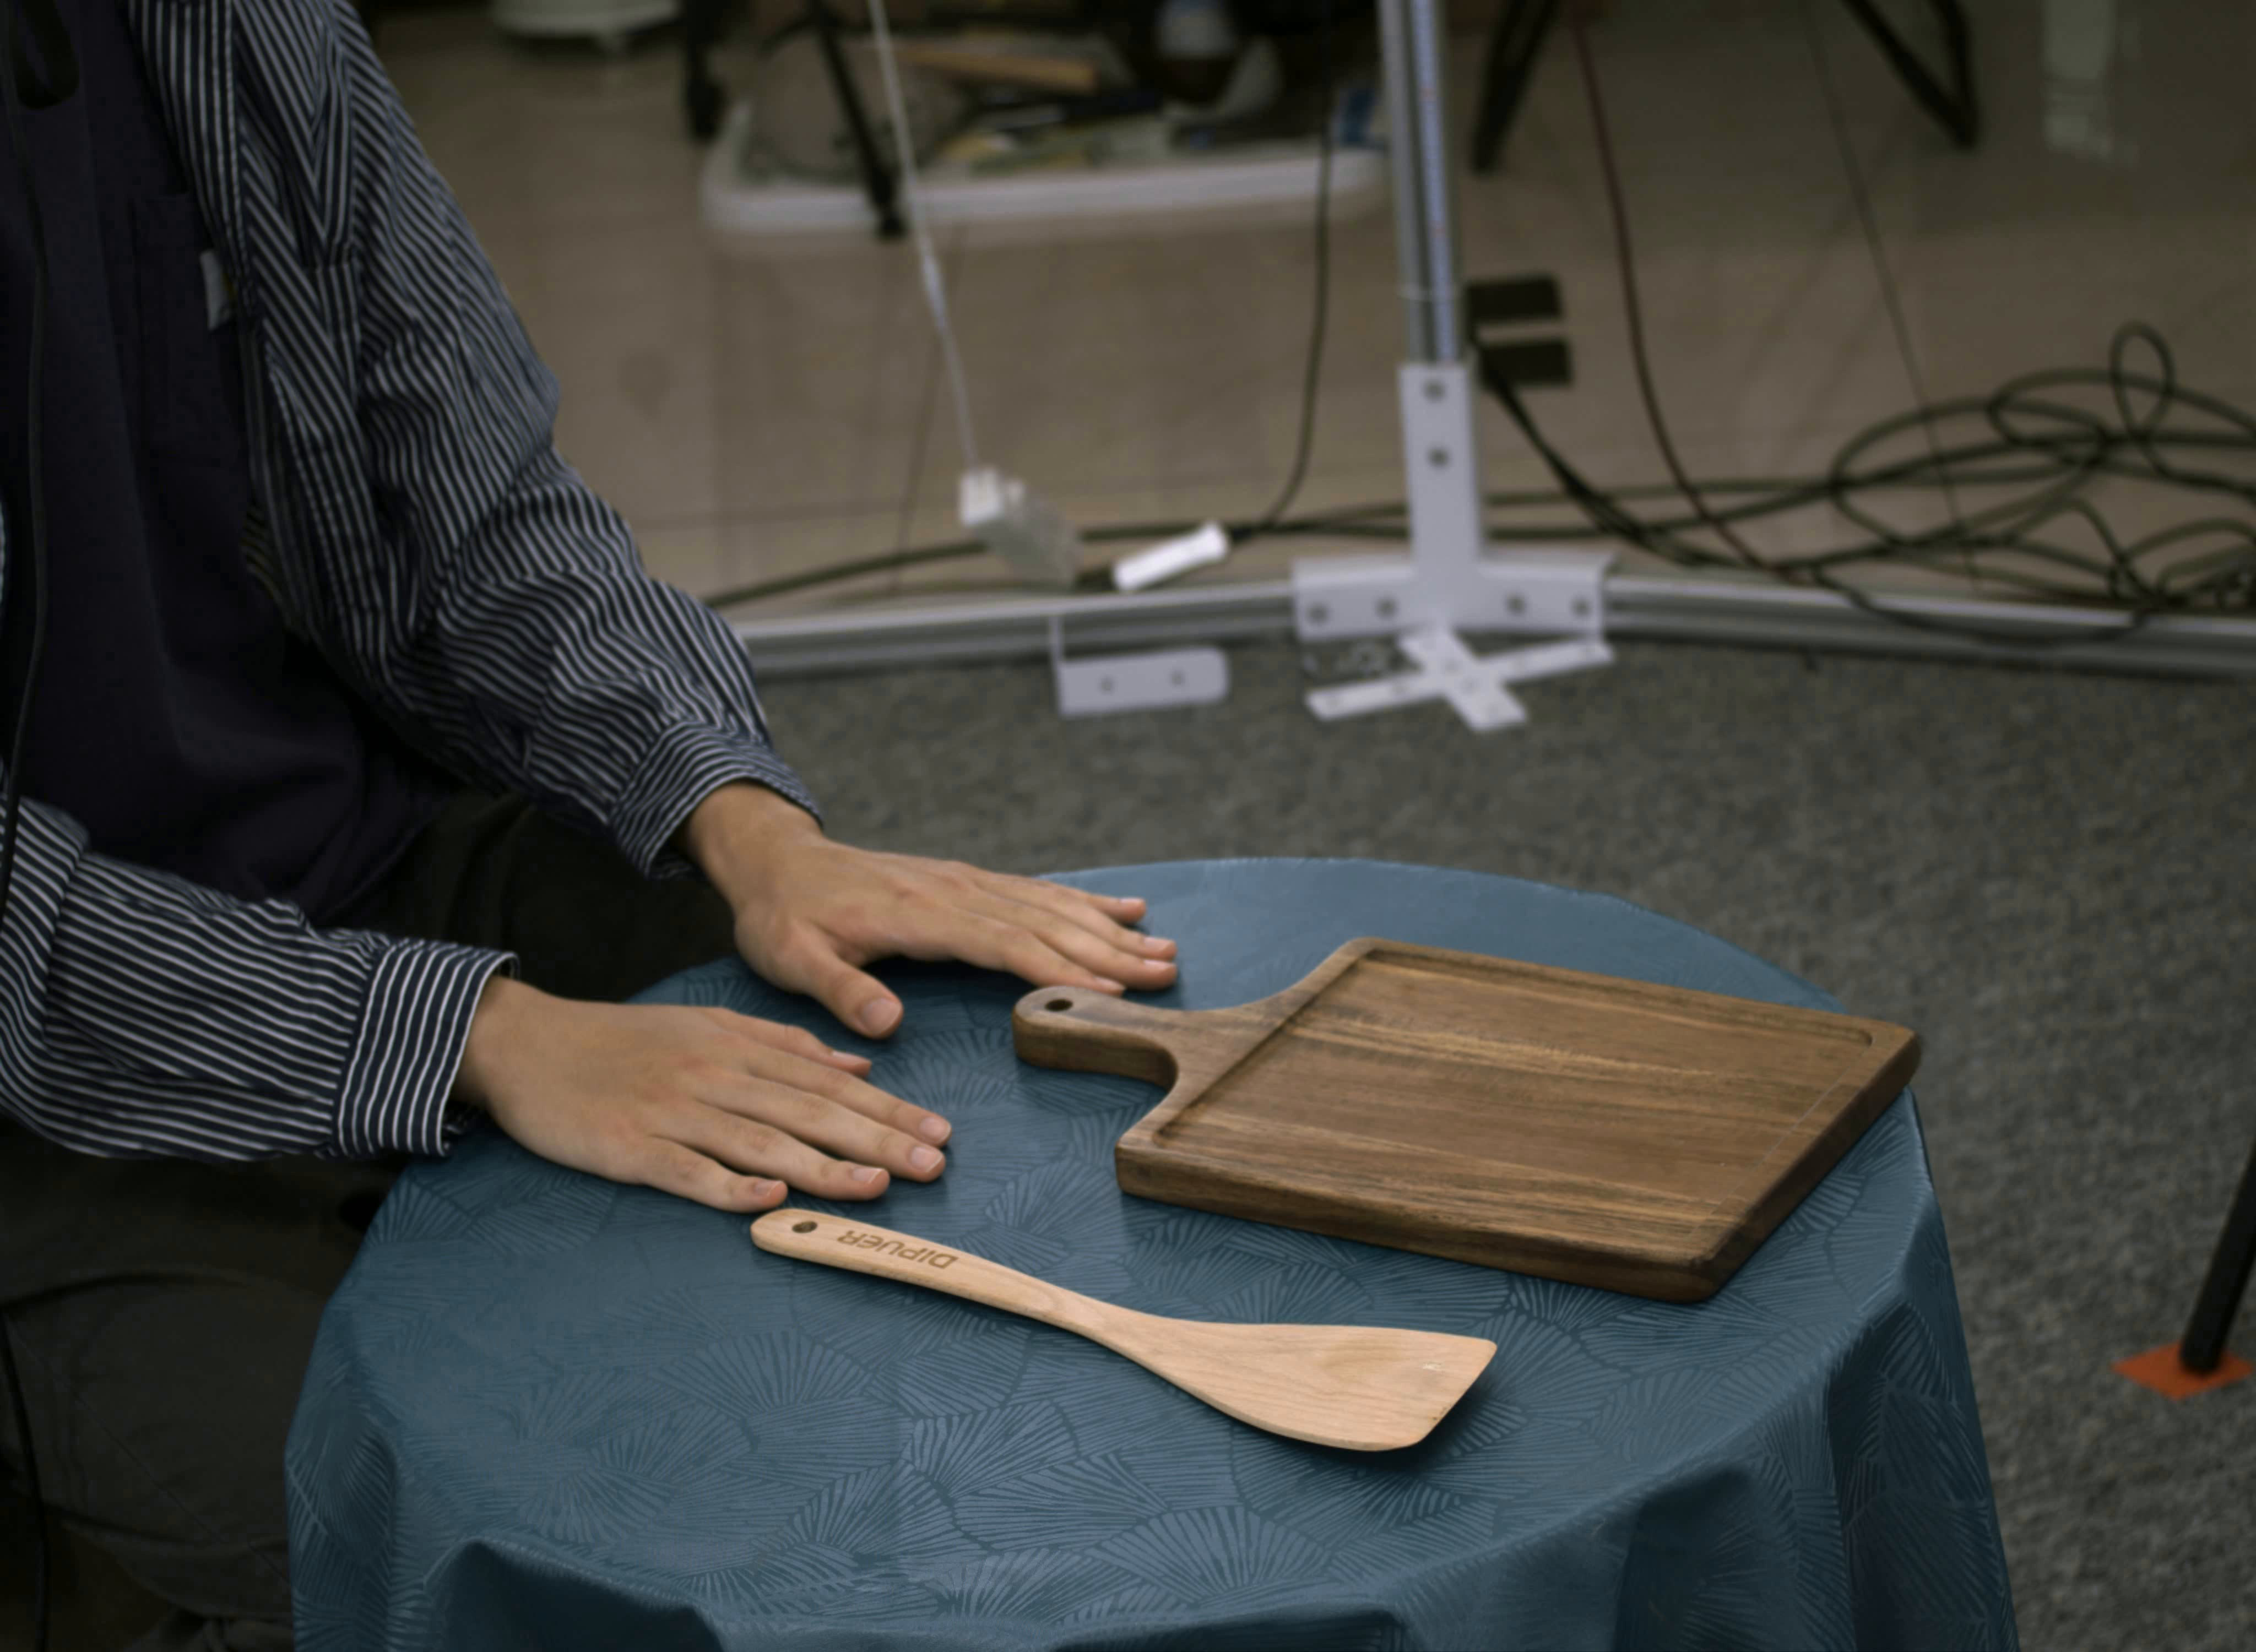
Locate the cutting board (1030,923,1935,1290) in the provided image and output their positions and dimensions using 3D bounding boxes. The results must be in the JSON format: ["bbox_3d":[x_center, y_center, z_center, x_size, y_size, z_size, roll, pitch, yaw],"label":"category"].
[{"bbox_3d":[0.114,0.096,2.190,0.350,0.023,0.199,10,30,31],"label":"cutting board"}]

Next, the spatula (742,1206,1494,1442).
[{"bbox_3d":[-0.012,0.173,2.063,0.326,0.017,0.079,12,30,34],"label":"spatula"}]
